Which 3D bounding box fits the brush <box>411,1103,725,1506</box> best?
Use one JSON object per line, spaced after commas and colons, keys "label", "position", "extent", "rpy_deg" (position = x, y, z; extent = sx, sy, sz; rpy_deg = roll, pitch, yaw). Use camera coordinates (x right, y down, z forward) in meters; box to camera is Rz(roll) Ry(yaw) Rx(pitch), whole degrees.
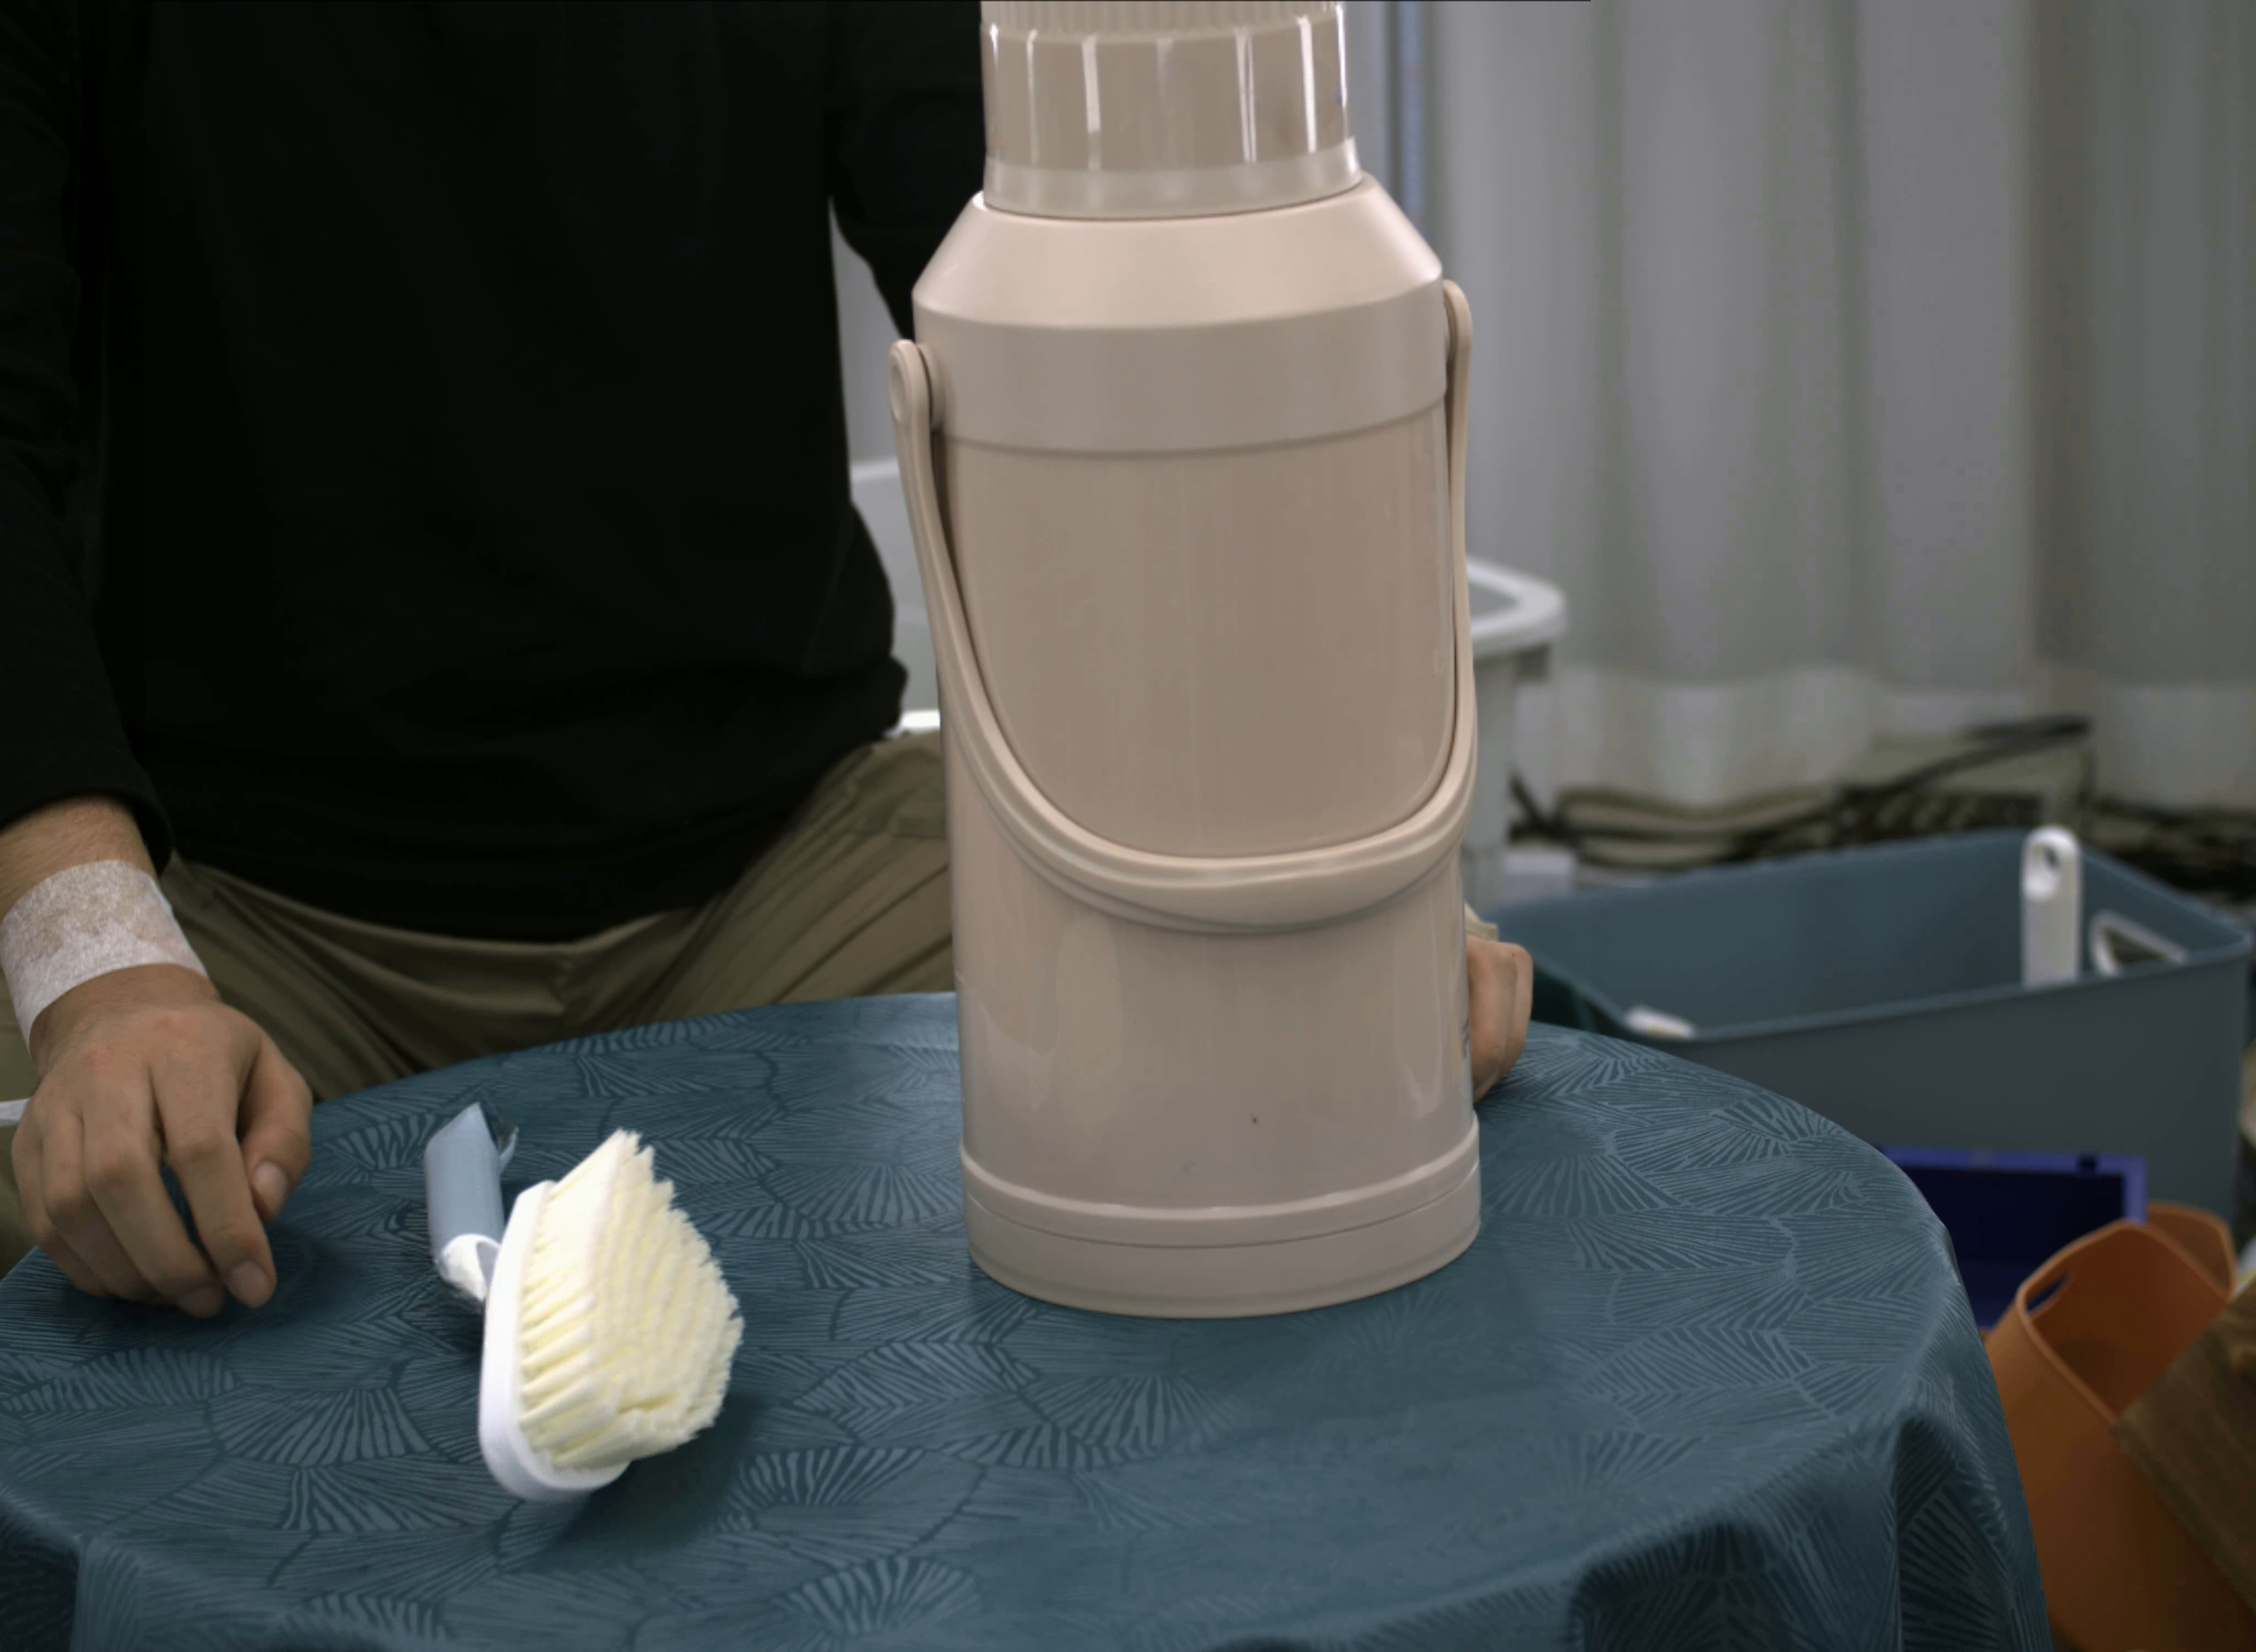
{"label": "brush", "position": [-0.162, 0.115, 1.604], "extent": [0.084, 0.083, 0.328], "rpy_deg": [7, 12, -10]}

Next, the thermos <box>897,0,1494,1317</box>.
{"label": "thermos", "position": [0.019, -0.071, 1.642], "extent": [0.174, 0.404, 0.208], "rpy_deg": [-9, 15, -18]}
